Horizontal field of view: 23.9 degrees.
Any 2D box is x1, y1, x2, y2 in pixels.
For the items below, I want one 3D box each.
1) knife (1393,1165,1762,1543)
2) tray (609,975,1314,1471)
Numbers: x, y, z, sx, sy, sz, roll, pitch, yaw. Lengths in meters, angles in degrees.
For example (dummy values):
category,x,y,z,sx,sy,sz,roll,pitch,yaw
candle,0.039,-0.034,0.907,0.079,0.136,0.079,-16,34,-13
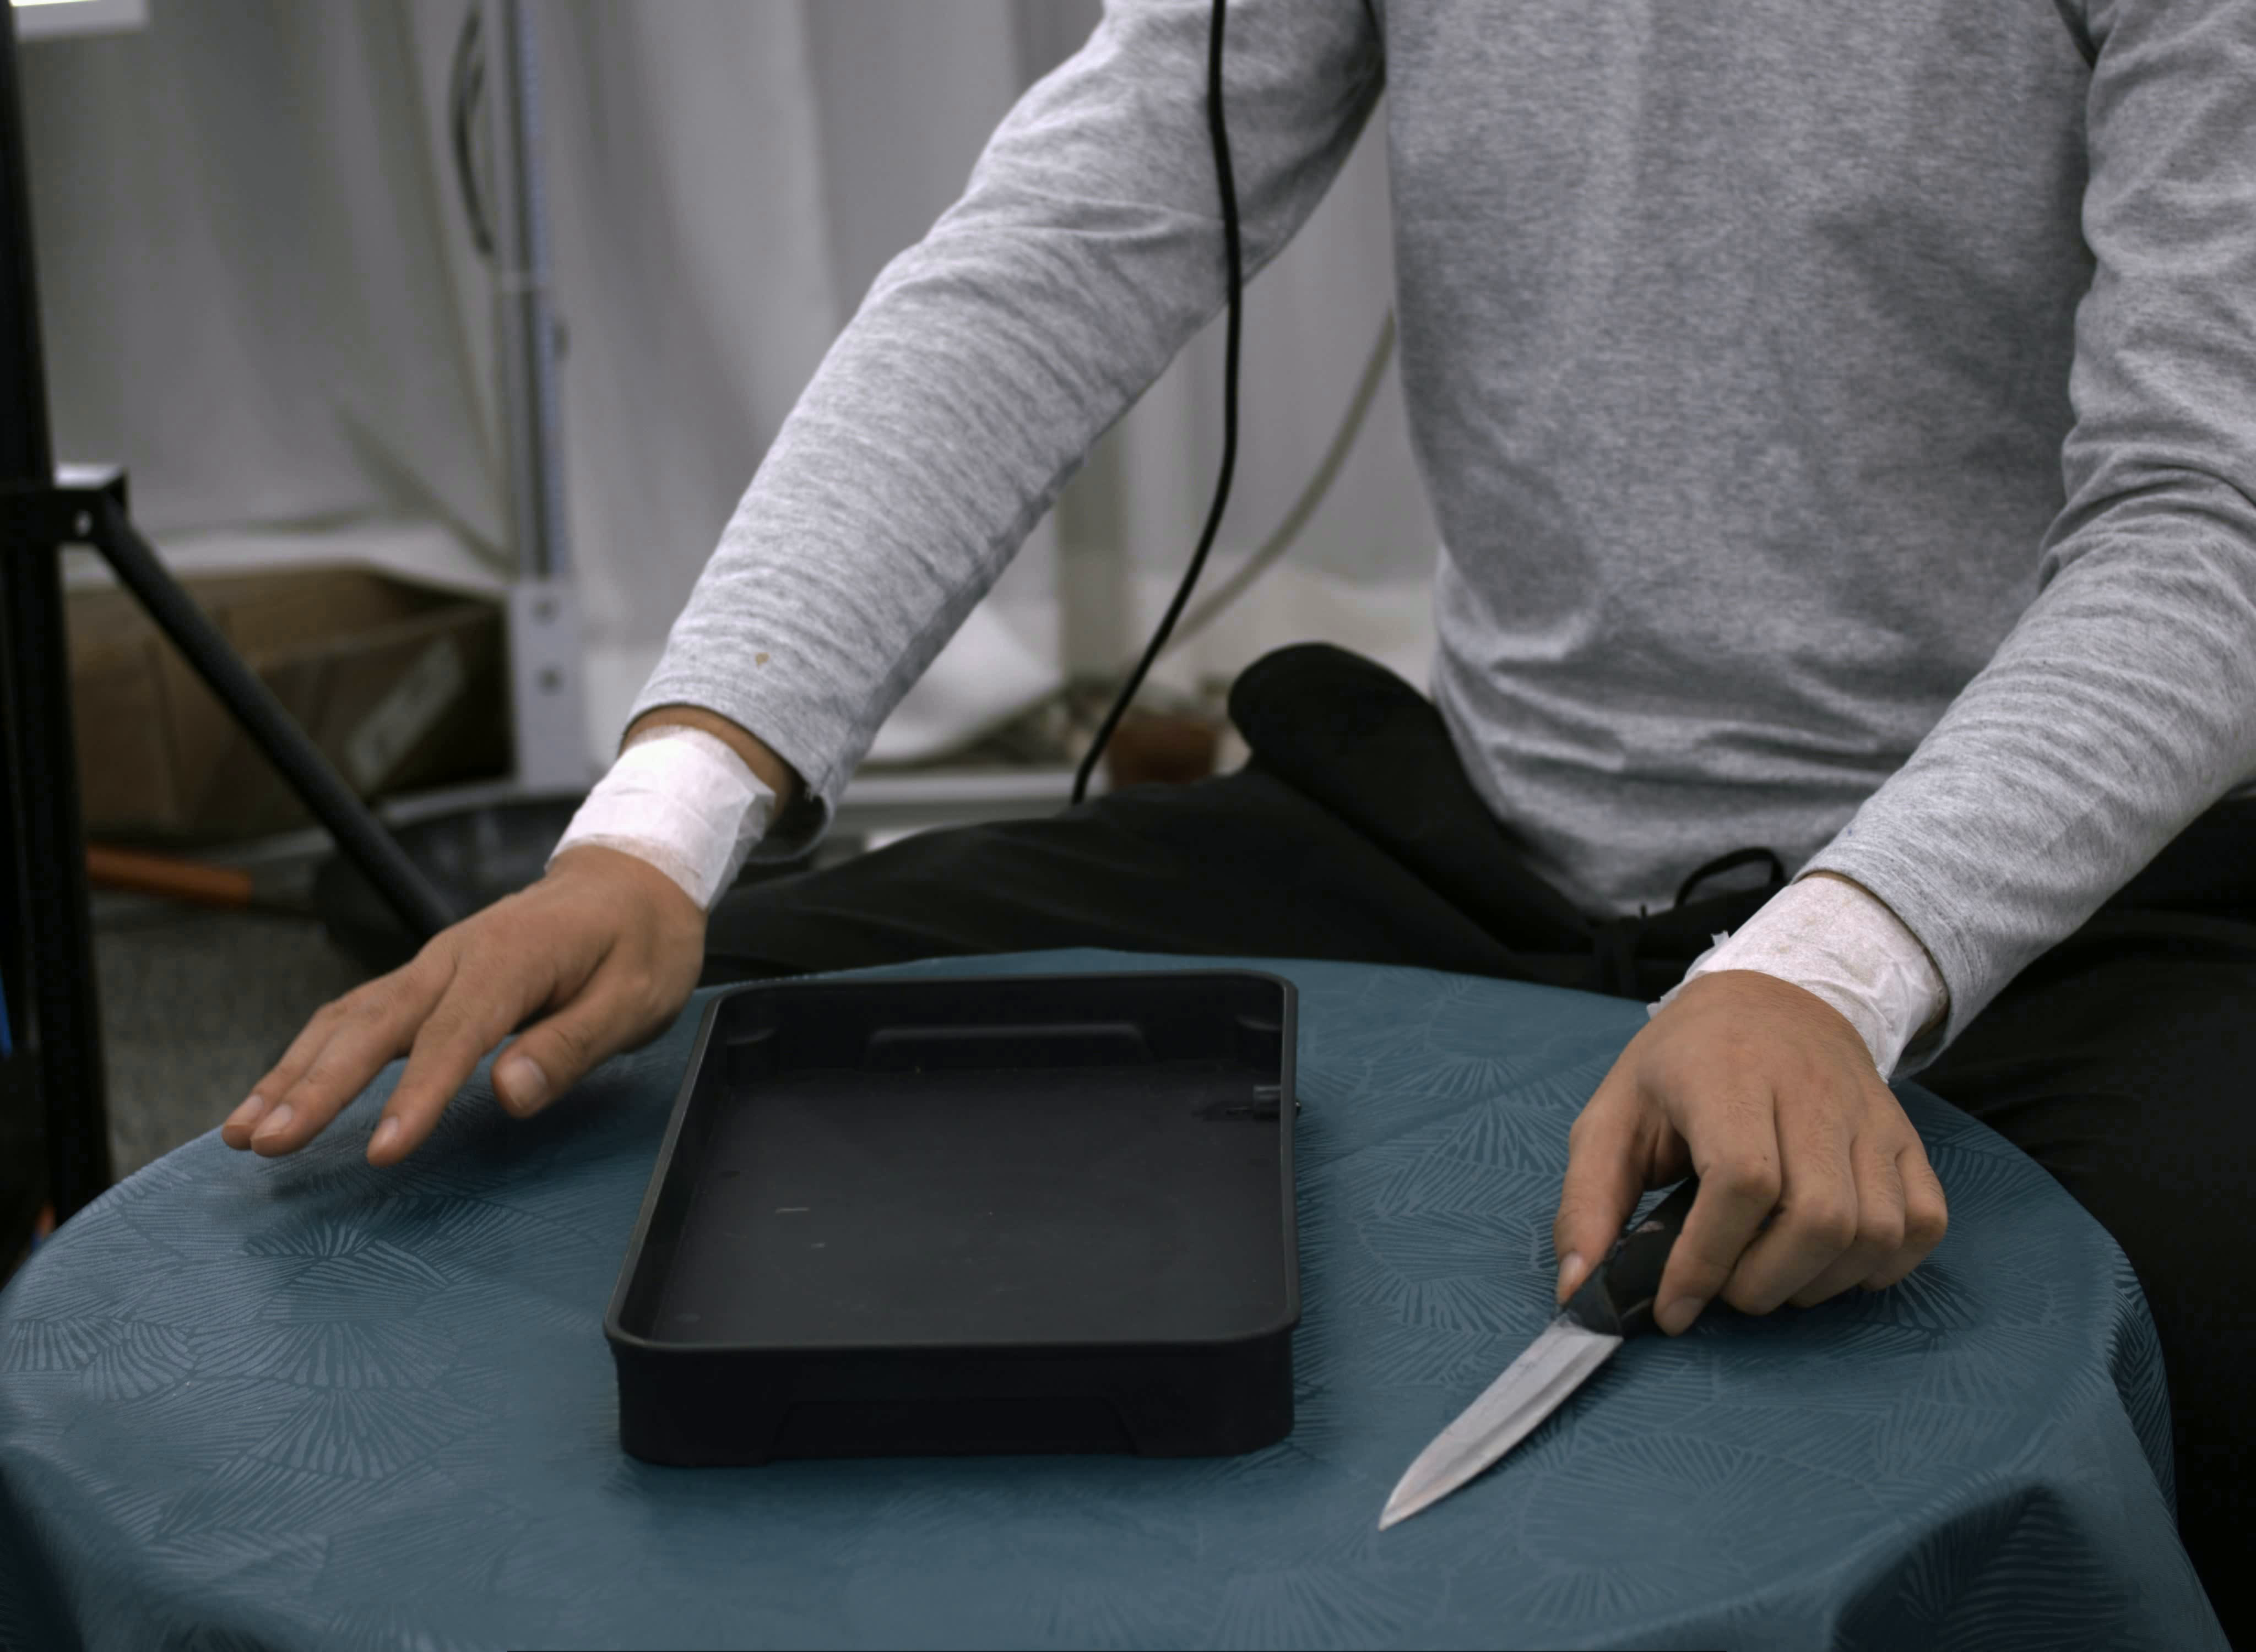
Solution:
category,x,y,z,sx,sy,sz,roll,pitch,yaw
knife,0.118,0.139,1.406,0.025,0.016,0.234,6,21,27
tray,-0.043,0.107,1.508,0.183,0.037,0.319,-2,15,1
